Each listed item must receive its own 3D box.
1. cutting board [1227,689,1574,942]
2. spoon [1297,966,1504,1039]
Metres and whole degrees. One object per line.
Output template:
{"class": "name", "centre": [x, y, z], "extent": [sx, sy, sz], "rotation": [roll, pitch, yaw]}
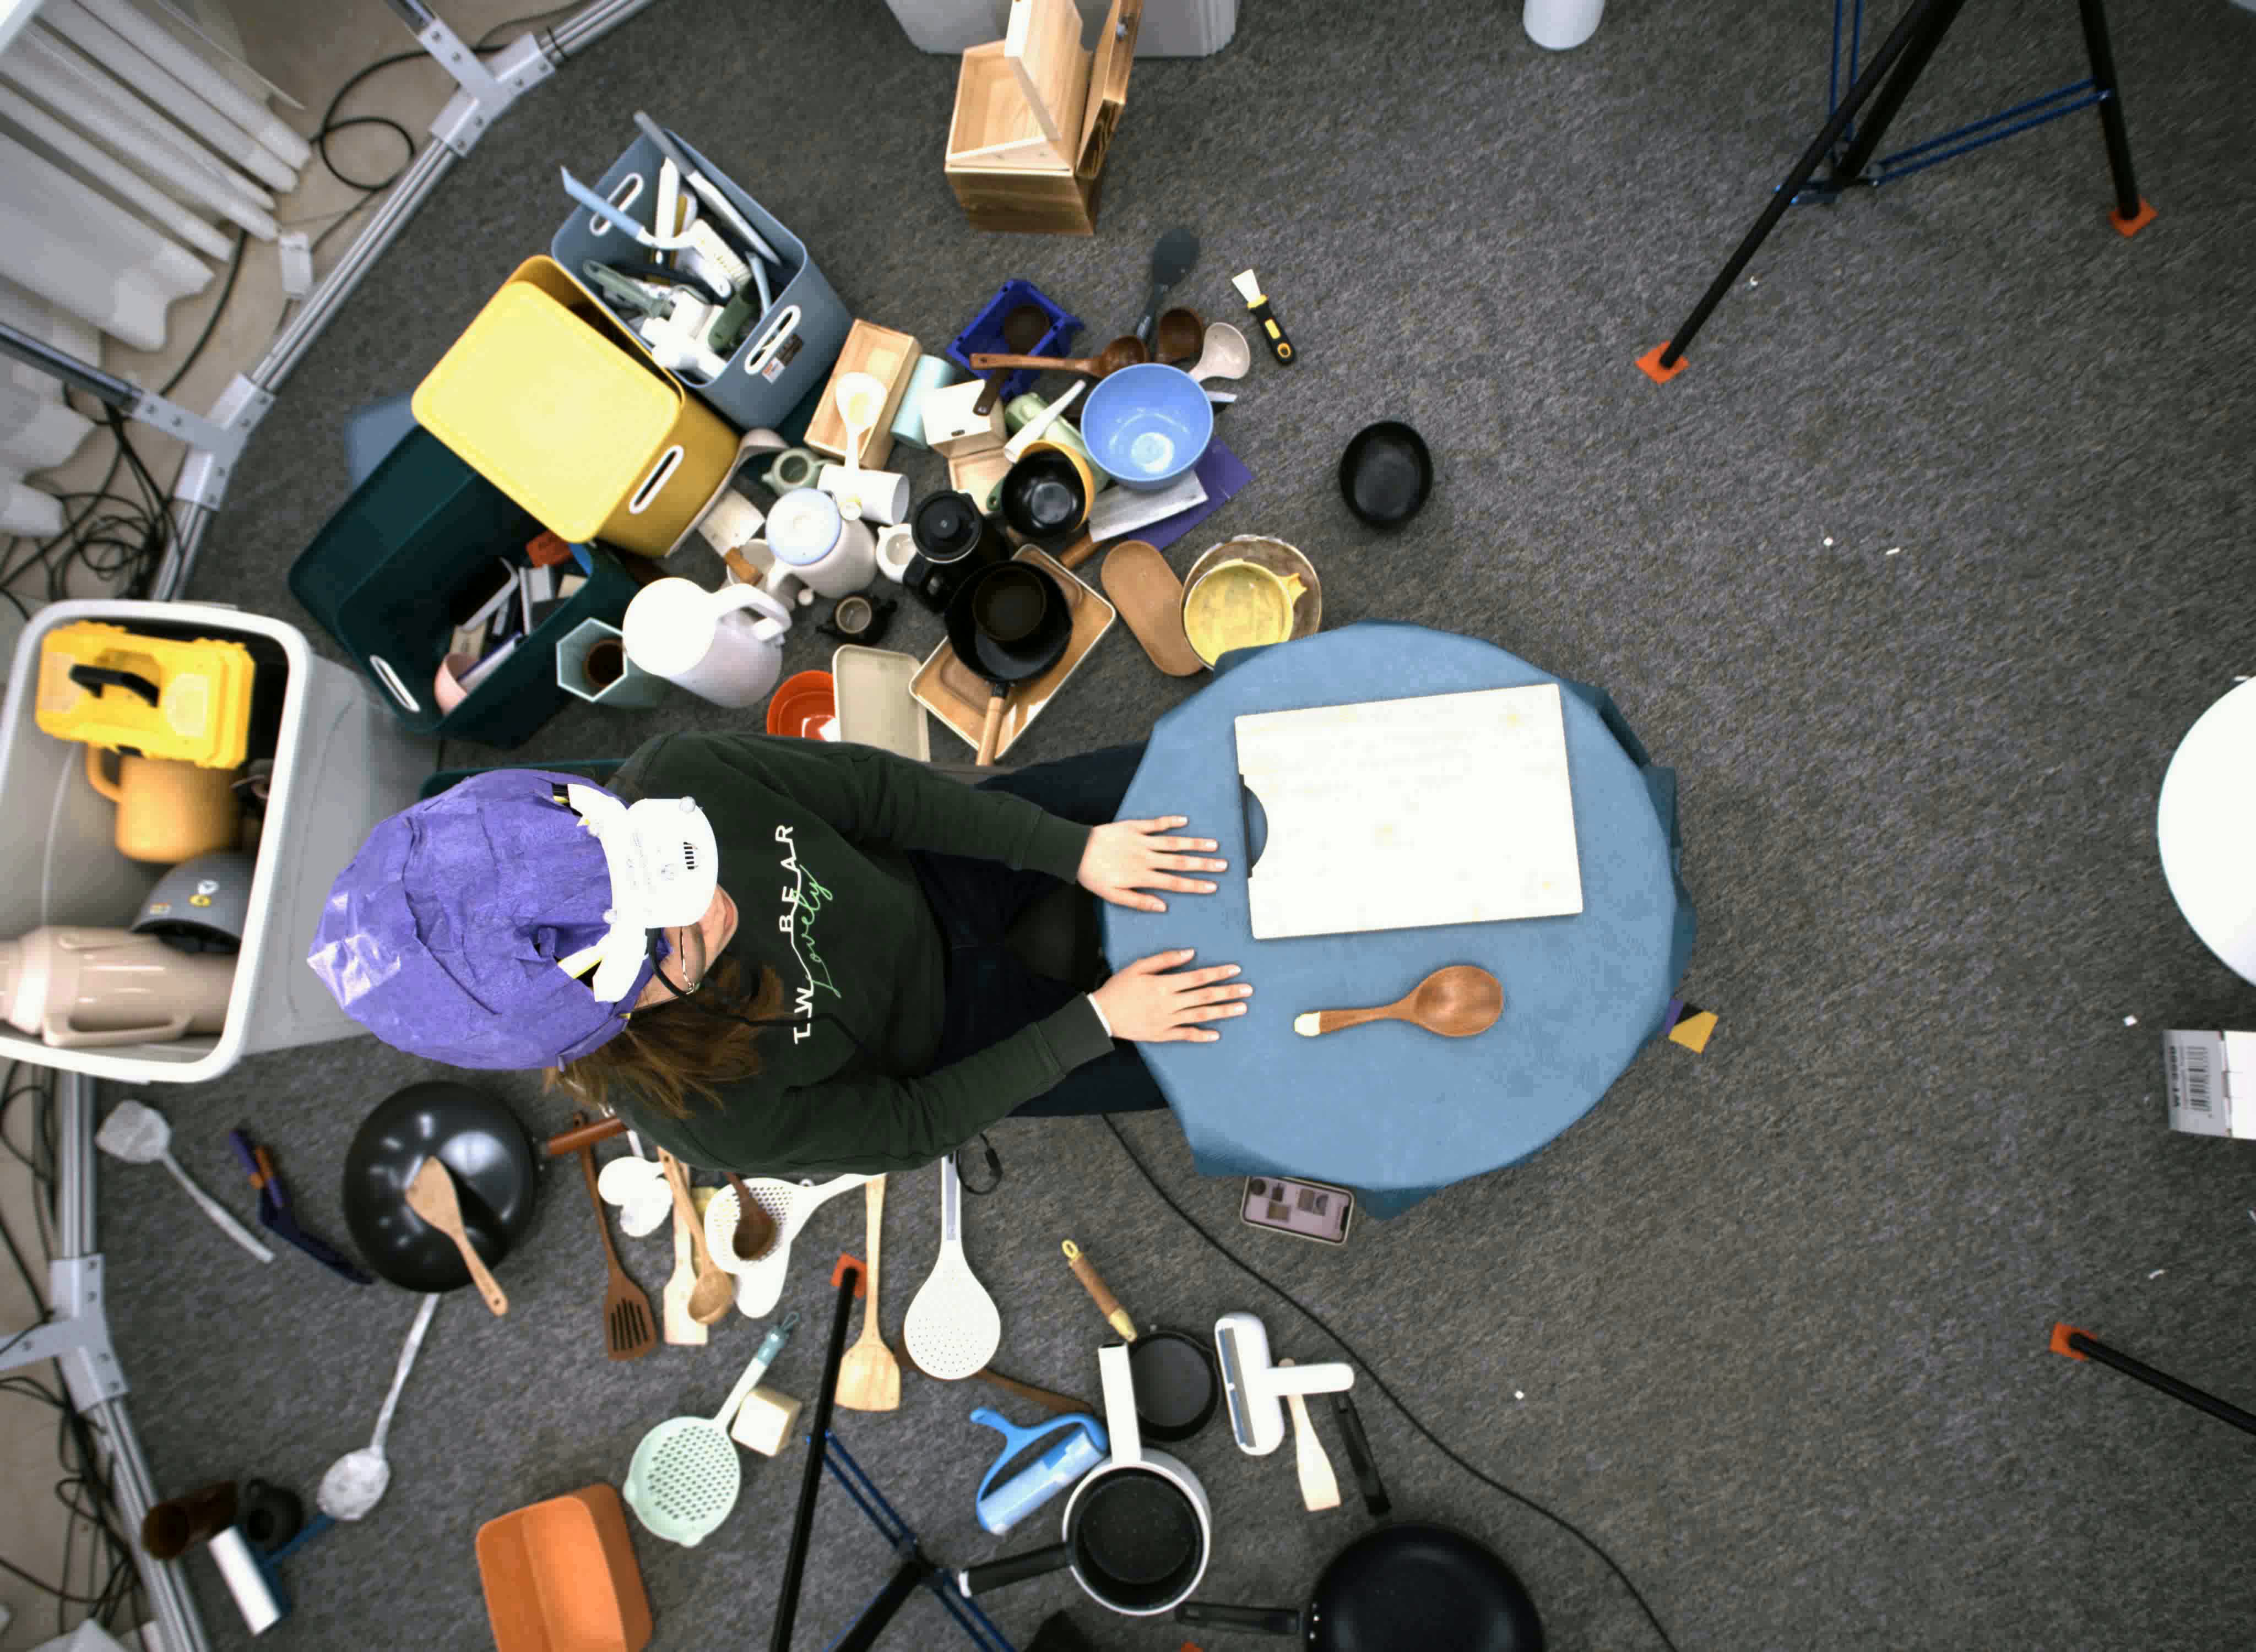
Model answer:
{"class": "cutting board", "centre": [0.288, -0.012, 1.459], "extent": [0.350, 0.023, 0.249], "rotation": [-6, 84, 10]}
{"class": "spoon", "centre": [0.283, 0.193, 1.445], "extent": [0.217, 0.017, 0.075], "rotation": [-10, 86, 9]}
